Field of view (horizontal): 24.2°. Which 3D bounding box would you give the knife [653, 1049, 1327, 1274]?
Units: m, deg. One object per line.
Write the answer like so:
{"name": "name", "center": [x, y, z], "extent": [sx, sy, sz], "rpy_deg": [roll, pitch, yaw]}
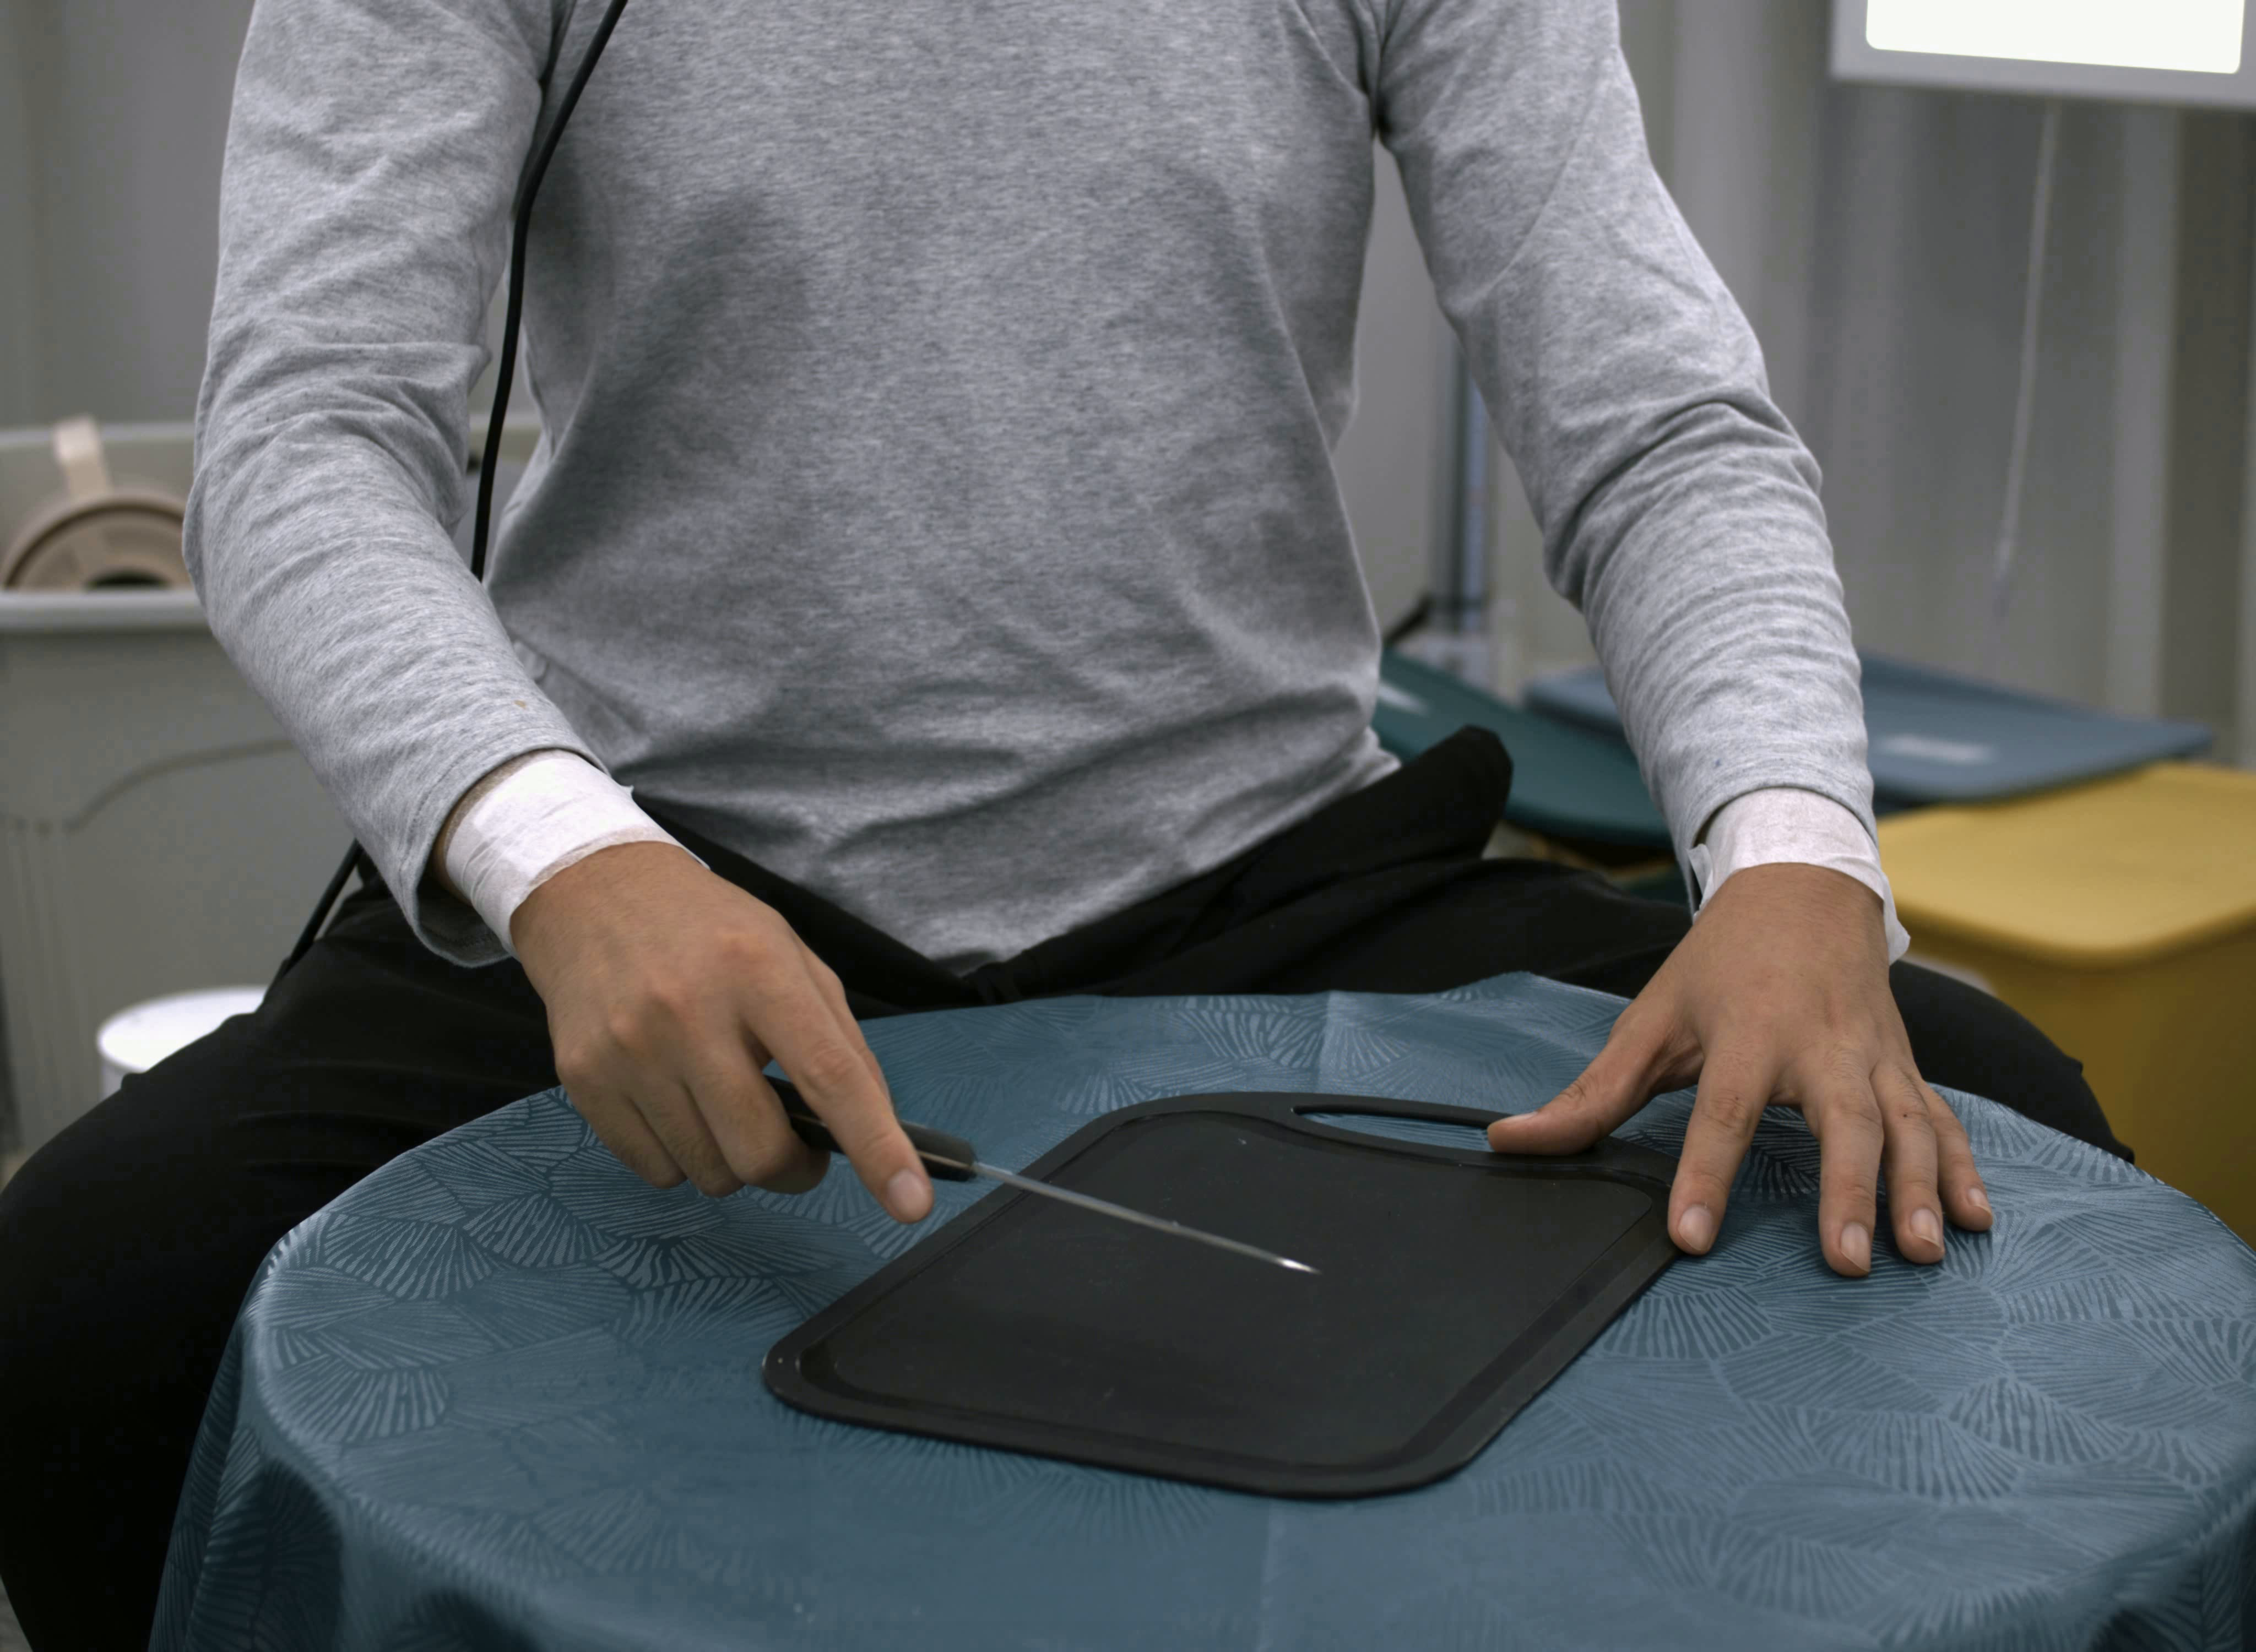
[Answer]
{"name": "knife", "center": [-0.045, 0.097, 1.505], "extent": [0.235, 0.016, 0.024], "rpy_deg": [15, 6, 31]}

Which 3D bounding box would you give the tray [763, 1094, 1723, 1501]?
{"name": "tray", "center": [0.043, 0.129, 1.555], "extent": [0.209, 0.010, 0.326], "rpy_deg": [7, 17, 23]}
